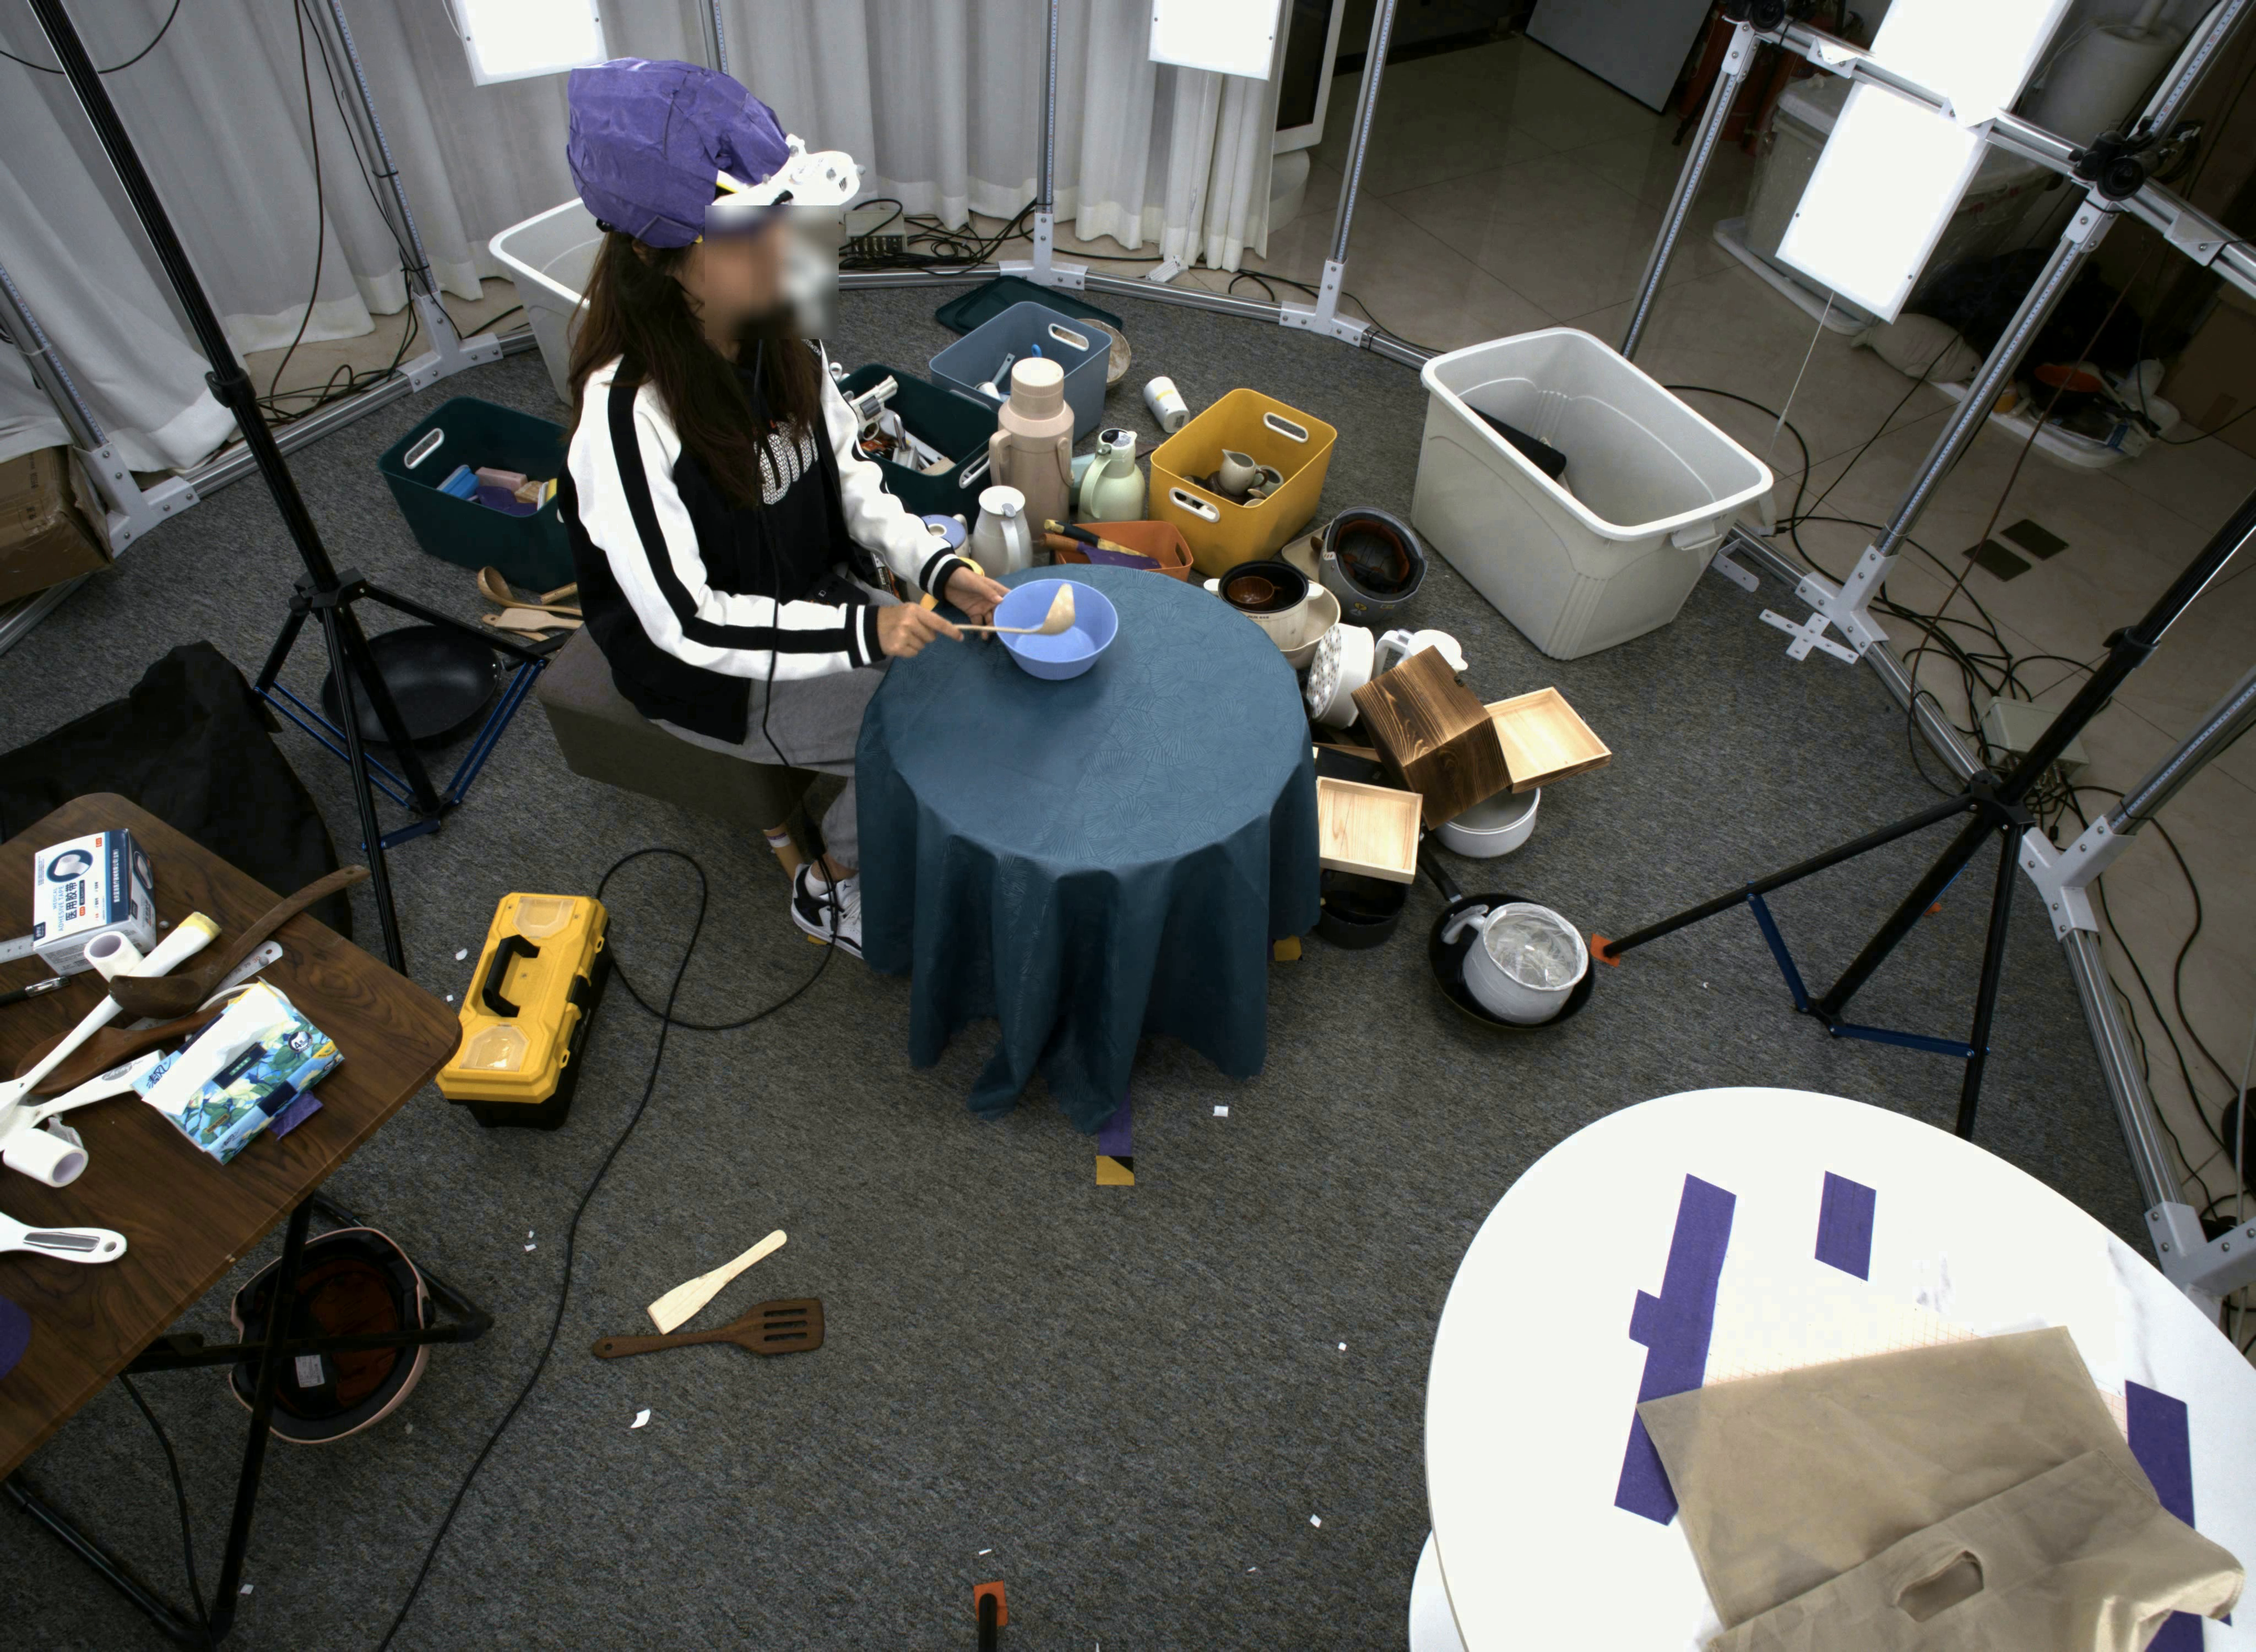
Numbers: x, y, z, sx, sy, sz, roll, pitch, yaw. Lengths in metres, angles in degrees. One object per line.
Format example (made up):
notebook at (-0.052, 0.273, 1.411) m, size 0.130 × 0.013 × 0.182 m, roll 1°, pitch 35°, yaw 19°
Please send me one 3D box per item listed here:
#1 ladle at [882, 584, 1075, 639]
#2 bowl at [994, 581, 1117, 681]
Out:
ladle at (-0.198, -0.287, 1.714) m, size 0.254 × 0.072 × 0.073 m, roll 0°, pitch 88°, yaw -3°
bowl at (-0.105, -0.272, 1.854) m, size 0.176 × 0.068 × 0.180 m, roll 2°, pitch 48°, yaw -3°
